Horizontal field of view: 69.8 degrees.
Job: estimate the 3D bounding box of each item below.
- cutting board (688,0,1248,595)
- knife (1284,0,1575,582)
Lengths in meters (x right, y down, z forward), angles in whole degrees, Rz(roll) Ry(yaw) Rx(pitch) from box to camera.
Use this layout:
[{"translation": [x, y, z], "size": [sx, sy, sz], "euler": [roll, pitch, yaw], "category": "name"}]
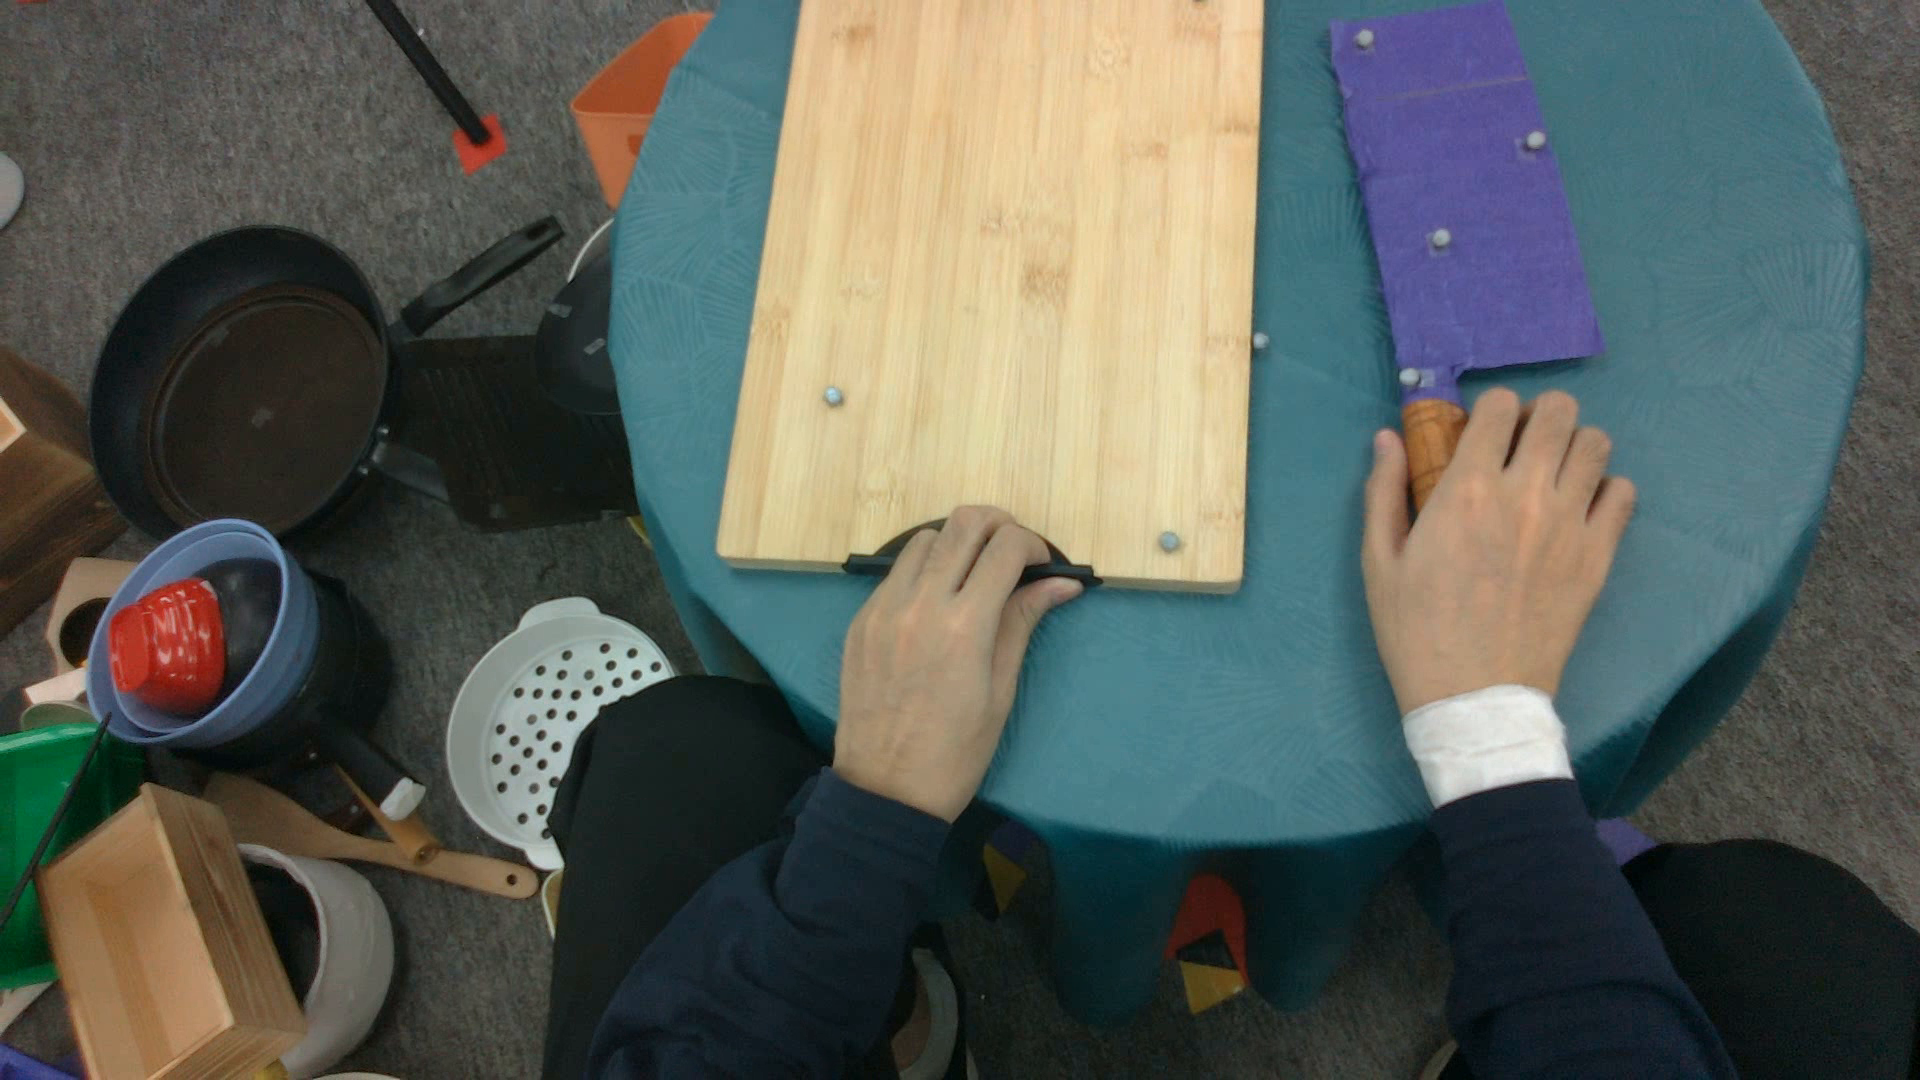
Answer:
[{"translation": [0.012, -0.146, 0.676], "size": [0.250, 0.023, 0.349], "euler": [2, 71, 8], "category": "cutting board"}, {"translation": [0.230, -0.136, 0.641], "size": [0.104, 0.032, 0.316], "euler": [-7, 69, 4], "category": "knife"}]
